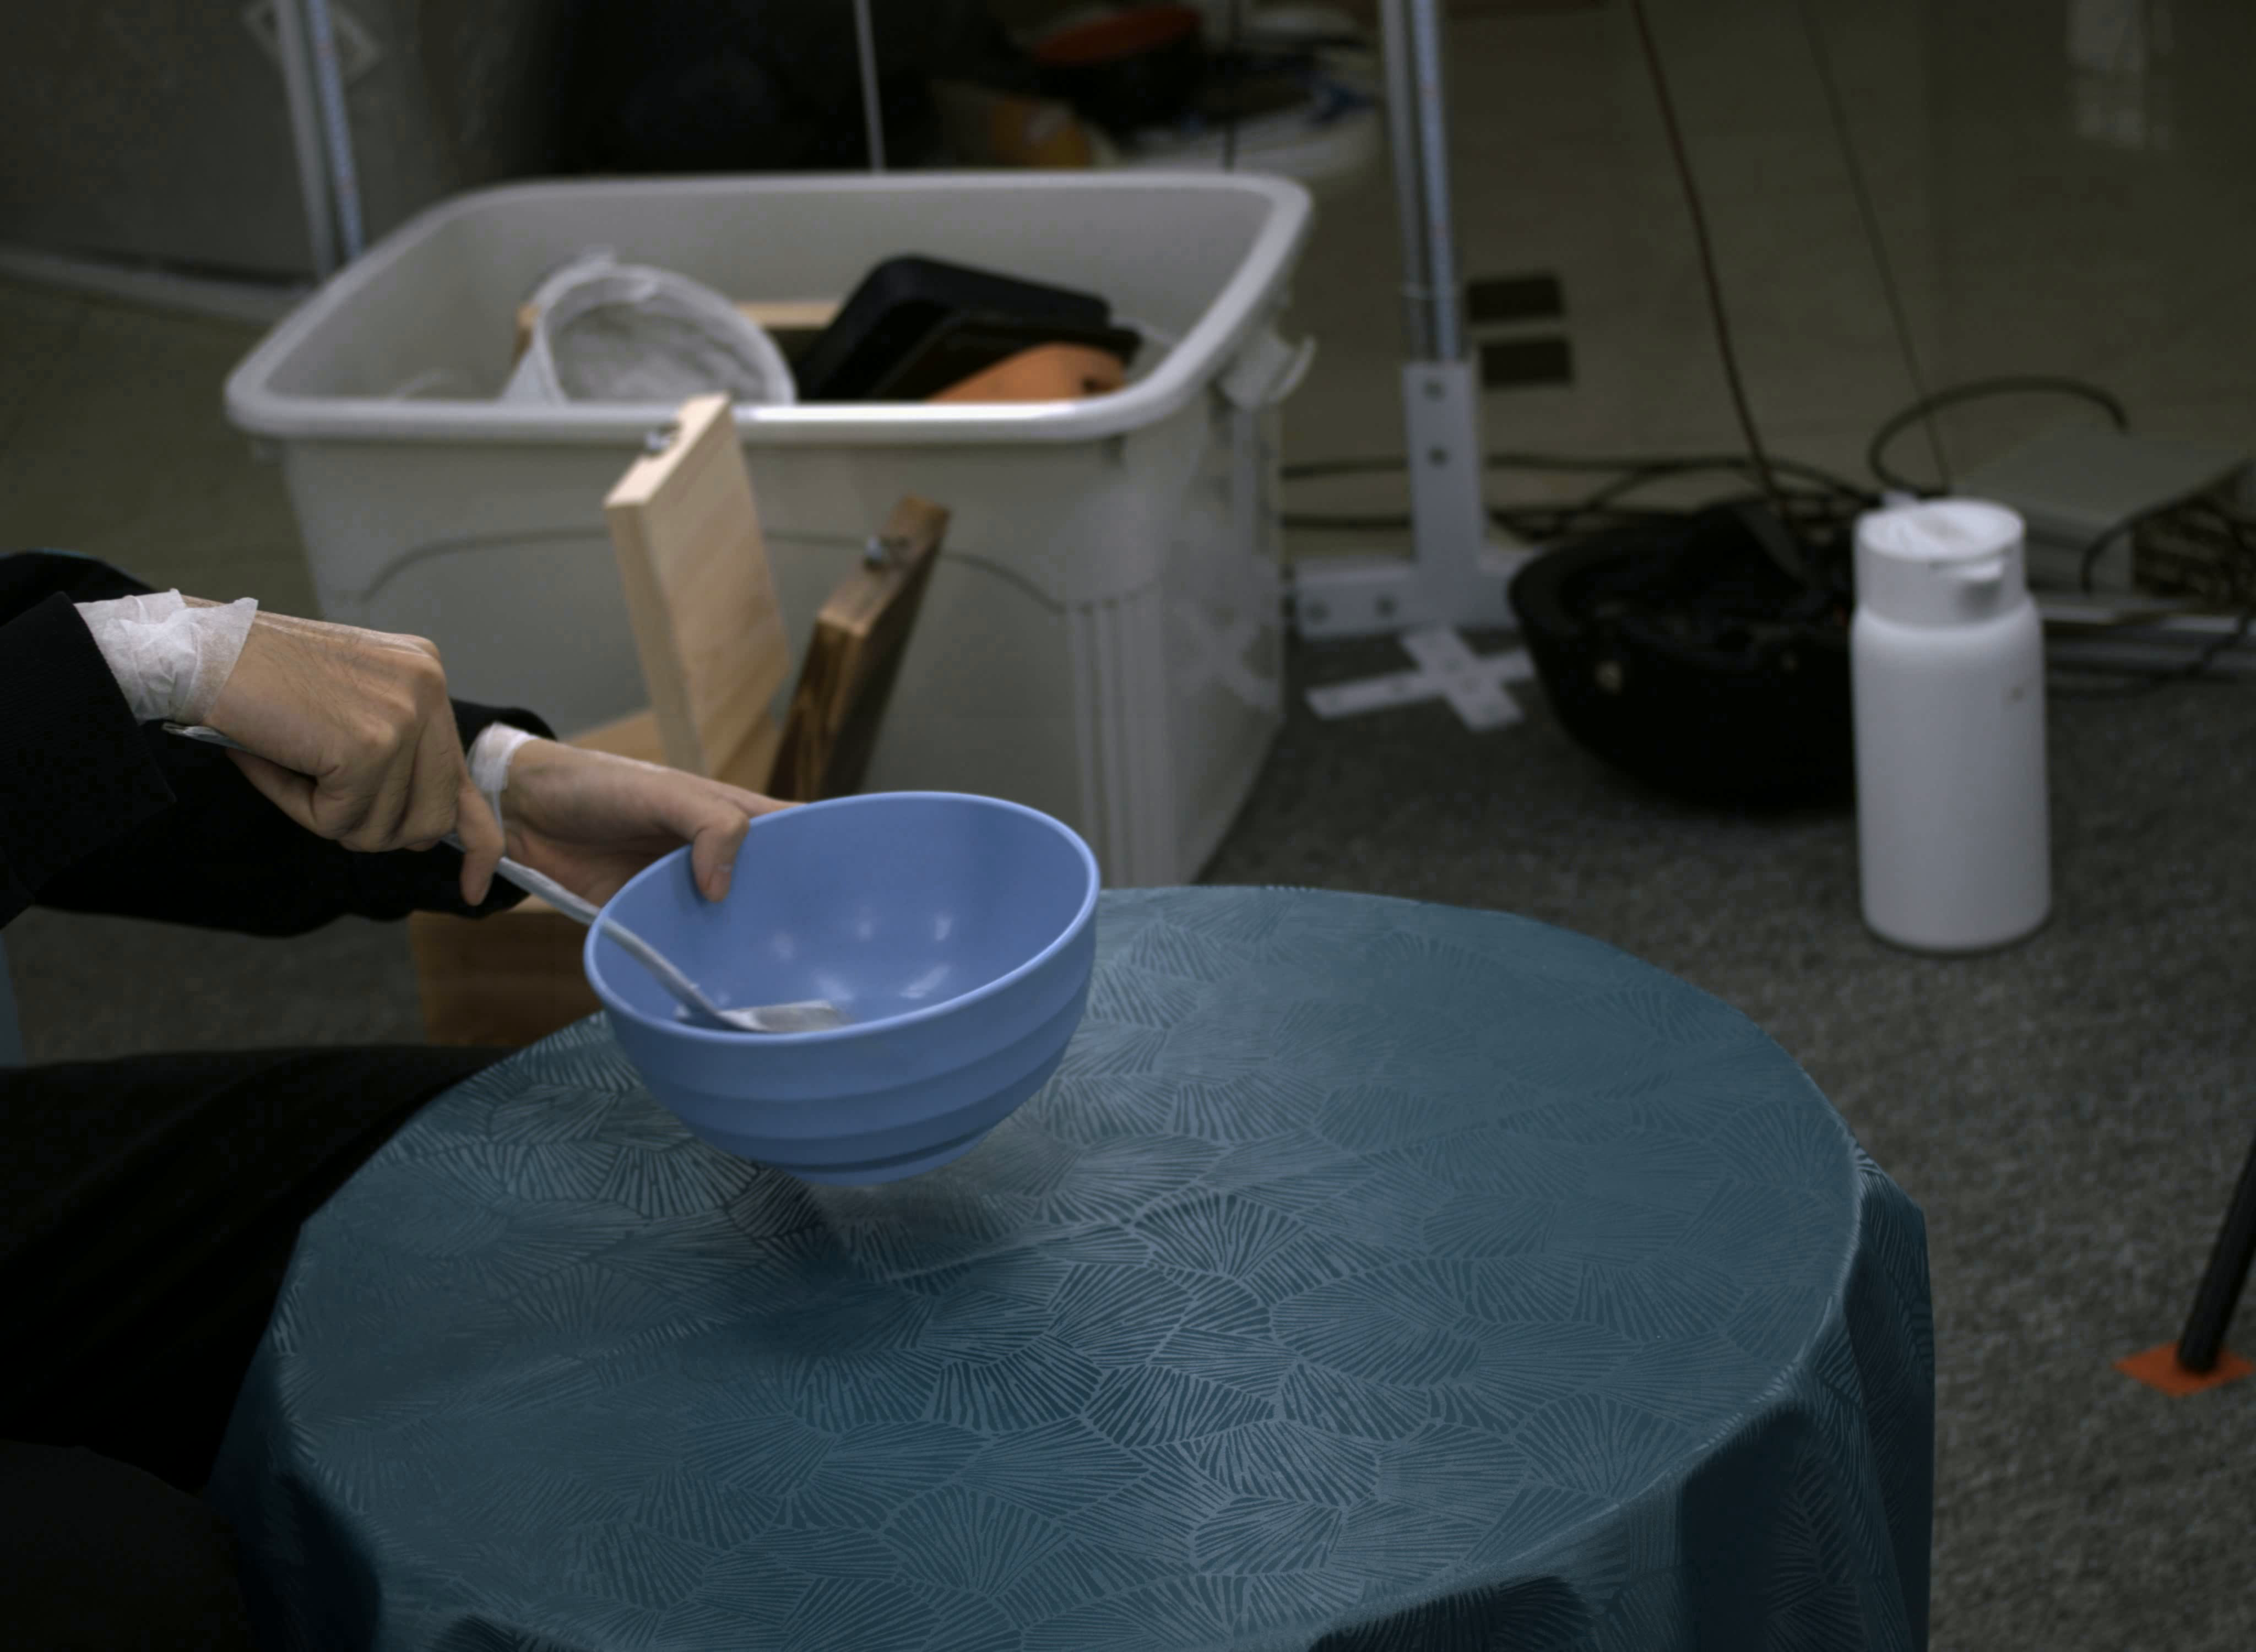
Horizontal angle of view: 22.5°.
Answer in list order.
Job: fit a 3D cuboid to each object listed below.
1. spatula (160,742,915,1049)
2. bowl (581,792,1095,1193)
[{"bbox_3d":[-0.202,0.024,2.061,0.098,0.368,0.044,7,73,45],"label":"spatula"},{"bbox_3d":[-0.102,0.075,2.141,0.196,0.097,0.193,-8,28,5],"label":"bowl"}]
